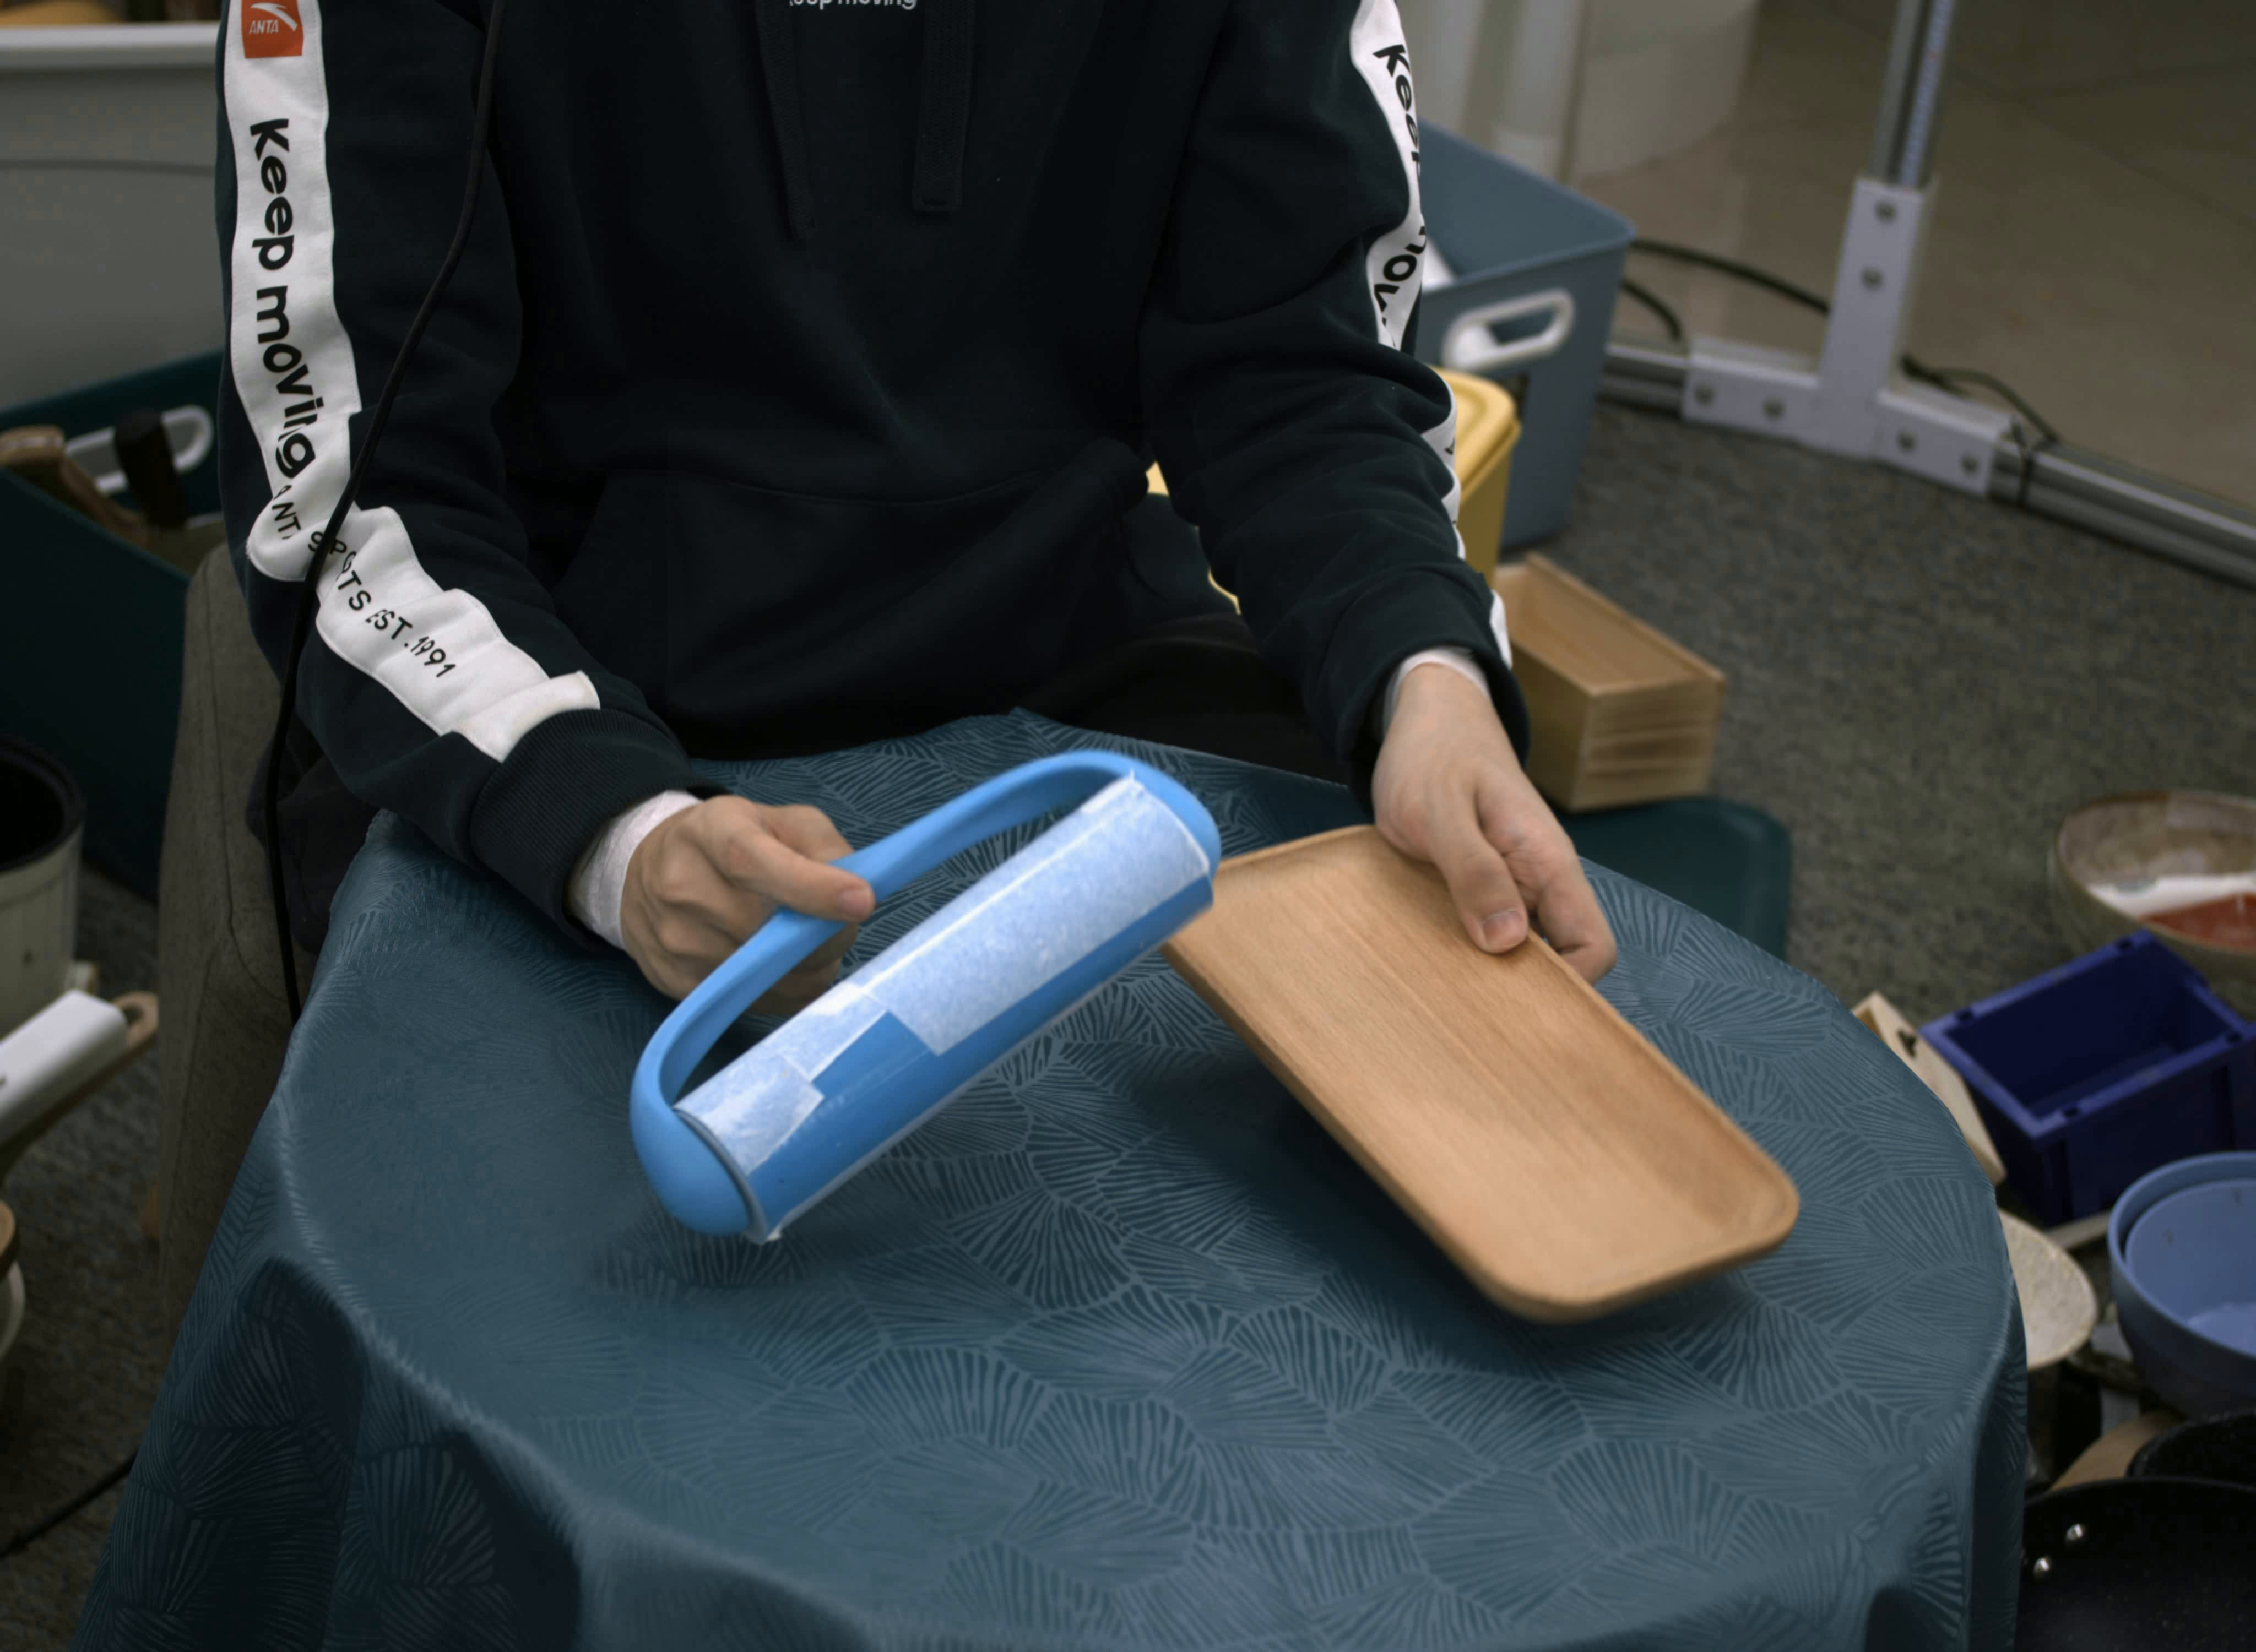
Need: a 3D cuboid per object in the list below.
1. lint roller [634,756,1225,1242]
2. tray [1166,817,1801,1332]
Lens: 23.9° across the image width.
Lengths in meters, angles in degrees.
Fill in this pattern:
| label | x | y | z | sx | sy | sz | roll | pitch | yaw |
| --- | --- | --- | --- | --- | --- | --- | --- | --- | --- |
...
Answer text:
| label | x | y | z | sx | sy | sz | roll | pitch | yaw |
| --- | --- | --- | --- | --- | --- | --- | --- | --- | --- |
| lint roller | -0.094 | 0.047 | 1.787 | 0.228 | 0.067 | 0.181 | -38 | 31 | -22 |
| tray | 0.115 | 0.081 | 1.814 | 0.130 | 0.023 | 0.253 | -11 | 40 | -31 |
